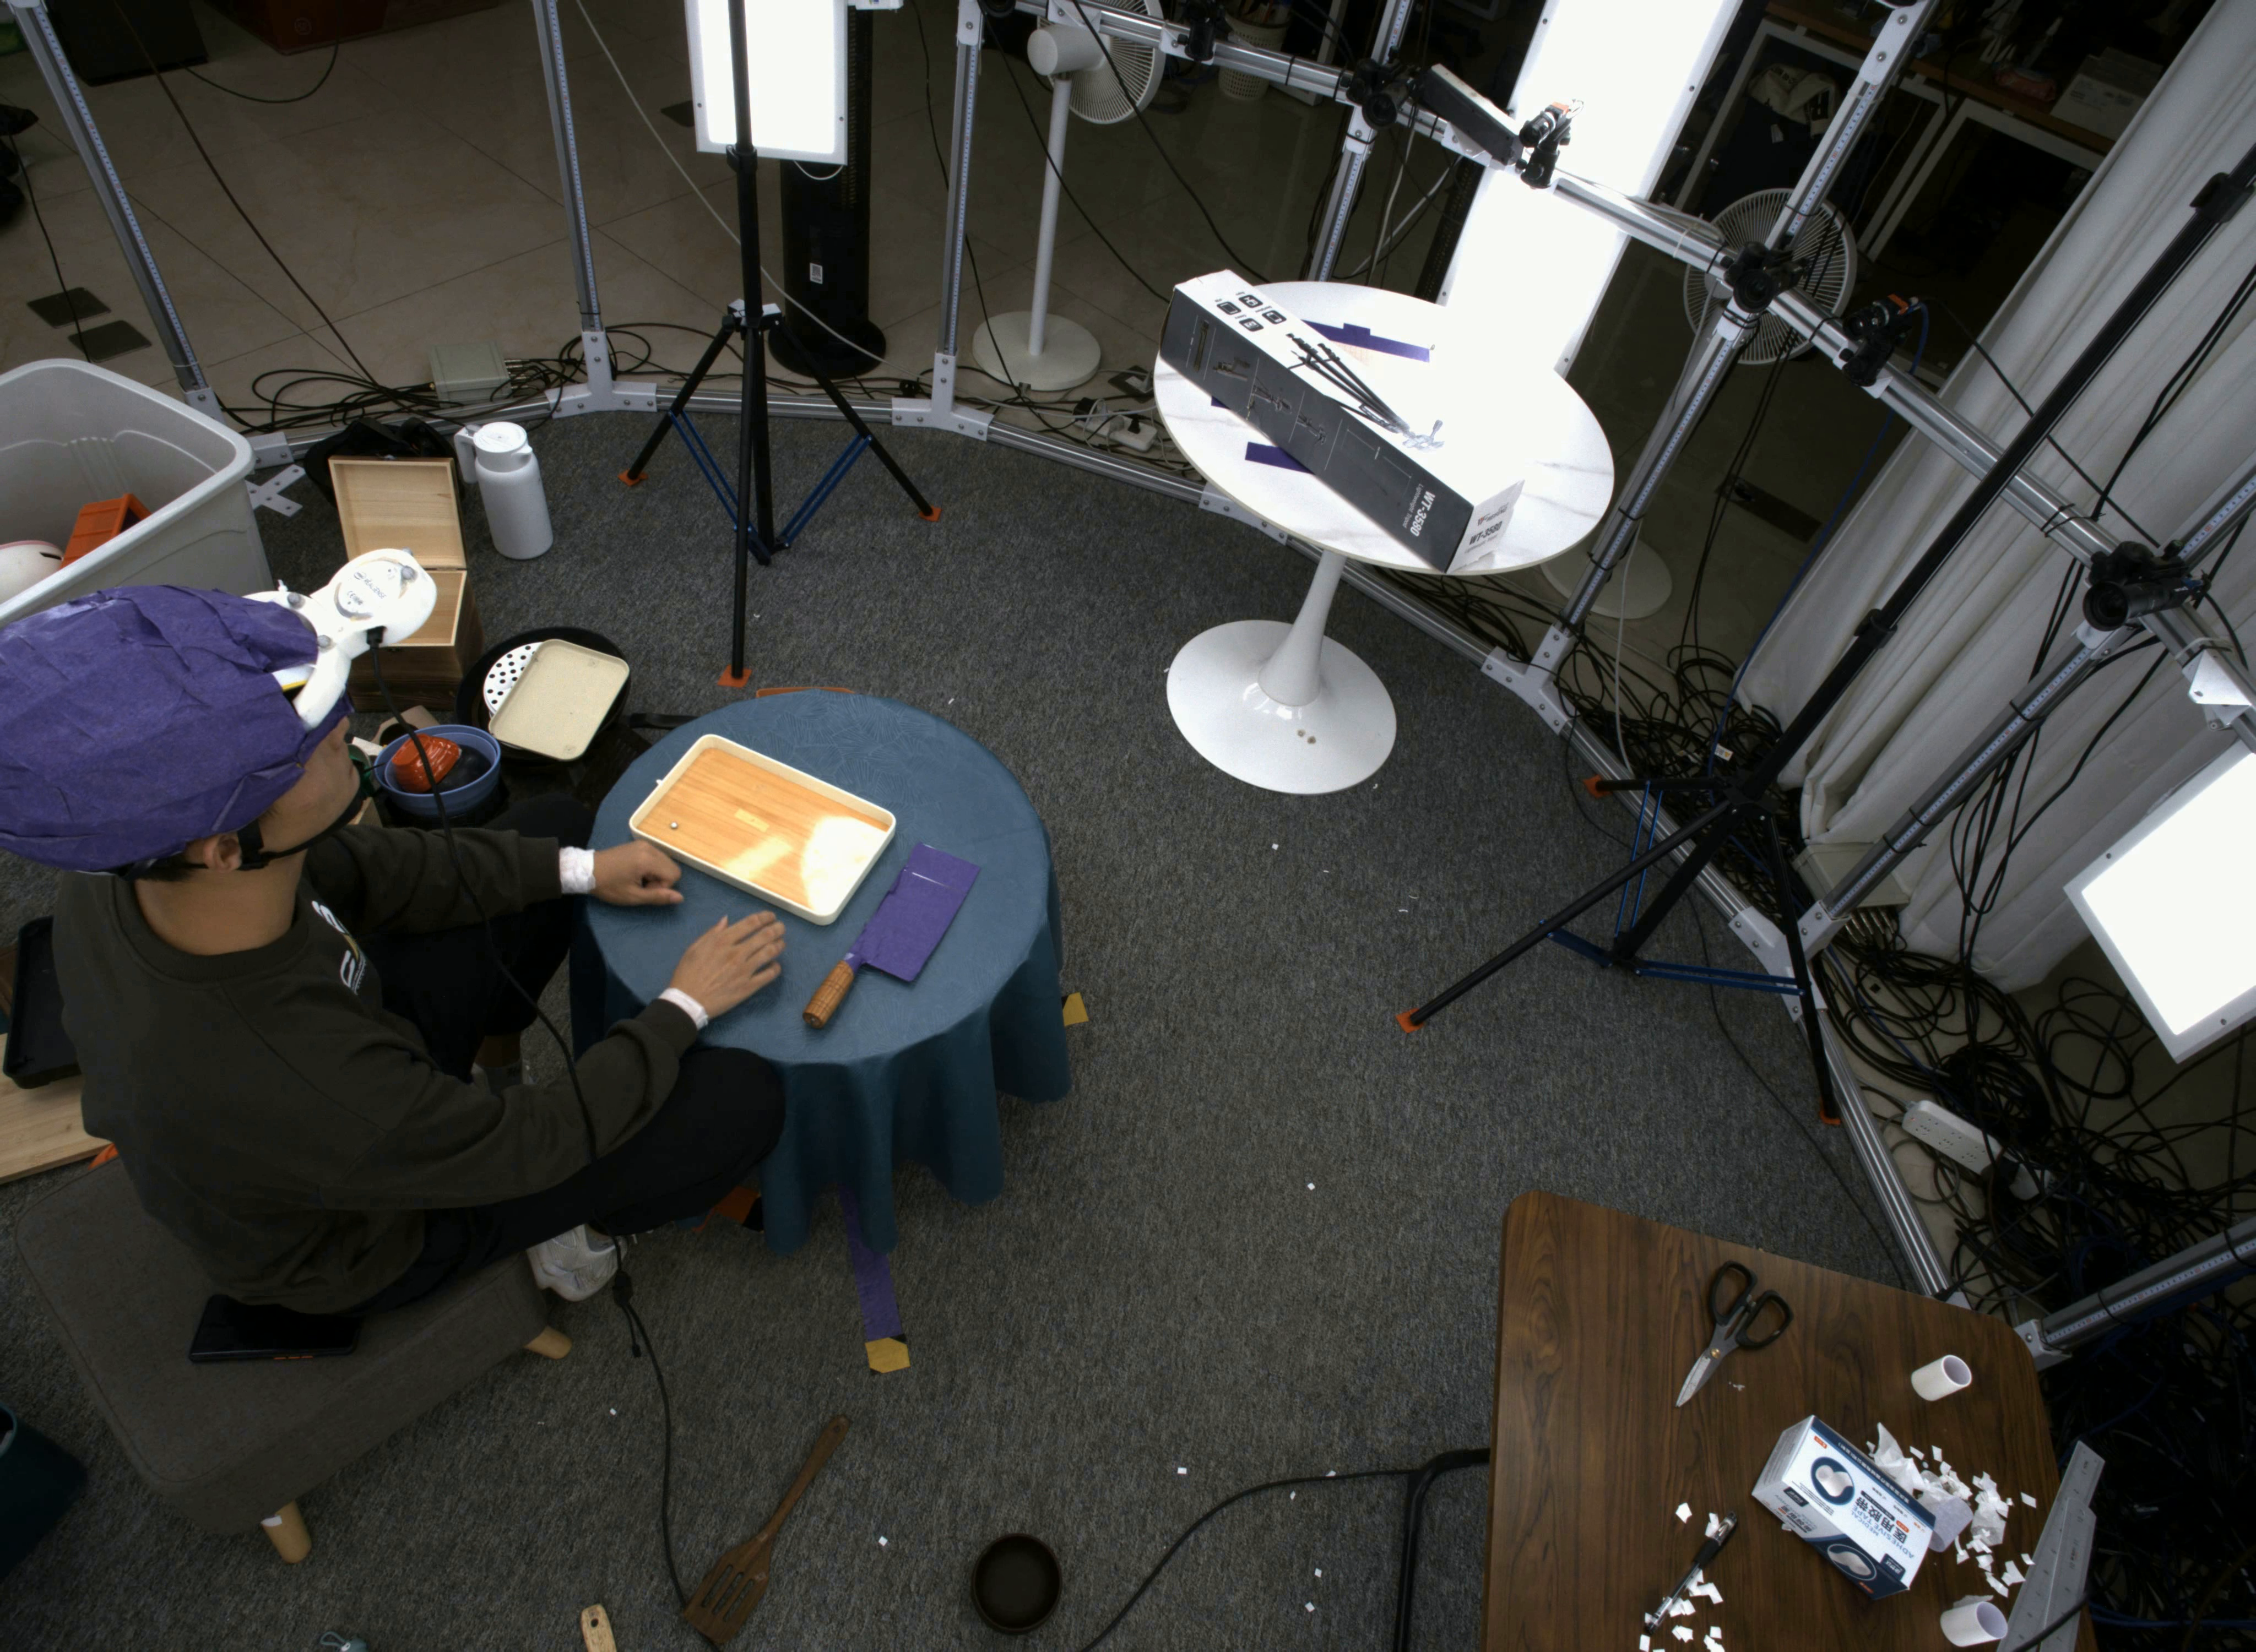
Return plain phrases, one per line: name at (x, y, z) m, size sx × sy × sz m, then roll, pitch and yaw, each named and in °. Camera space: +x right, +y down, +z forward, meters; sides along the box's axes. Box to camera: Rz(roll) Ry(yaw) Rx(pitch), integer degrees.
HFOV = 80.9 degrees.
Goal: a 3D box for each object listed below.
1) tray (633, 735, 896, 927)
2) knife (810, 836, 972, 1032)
tray at (-0.476, 0.001, 1.703) m, size 0.296 × 0.028 × 0.190 m, roll 24°, pitch 52°, yaw 4°
knife at (-0.291, 0.137, 1.650) m, size 0.102 × 0.033 × 0.312 m, roll 22°, pitch 51°, yaw 3°
